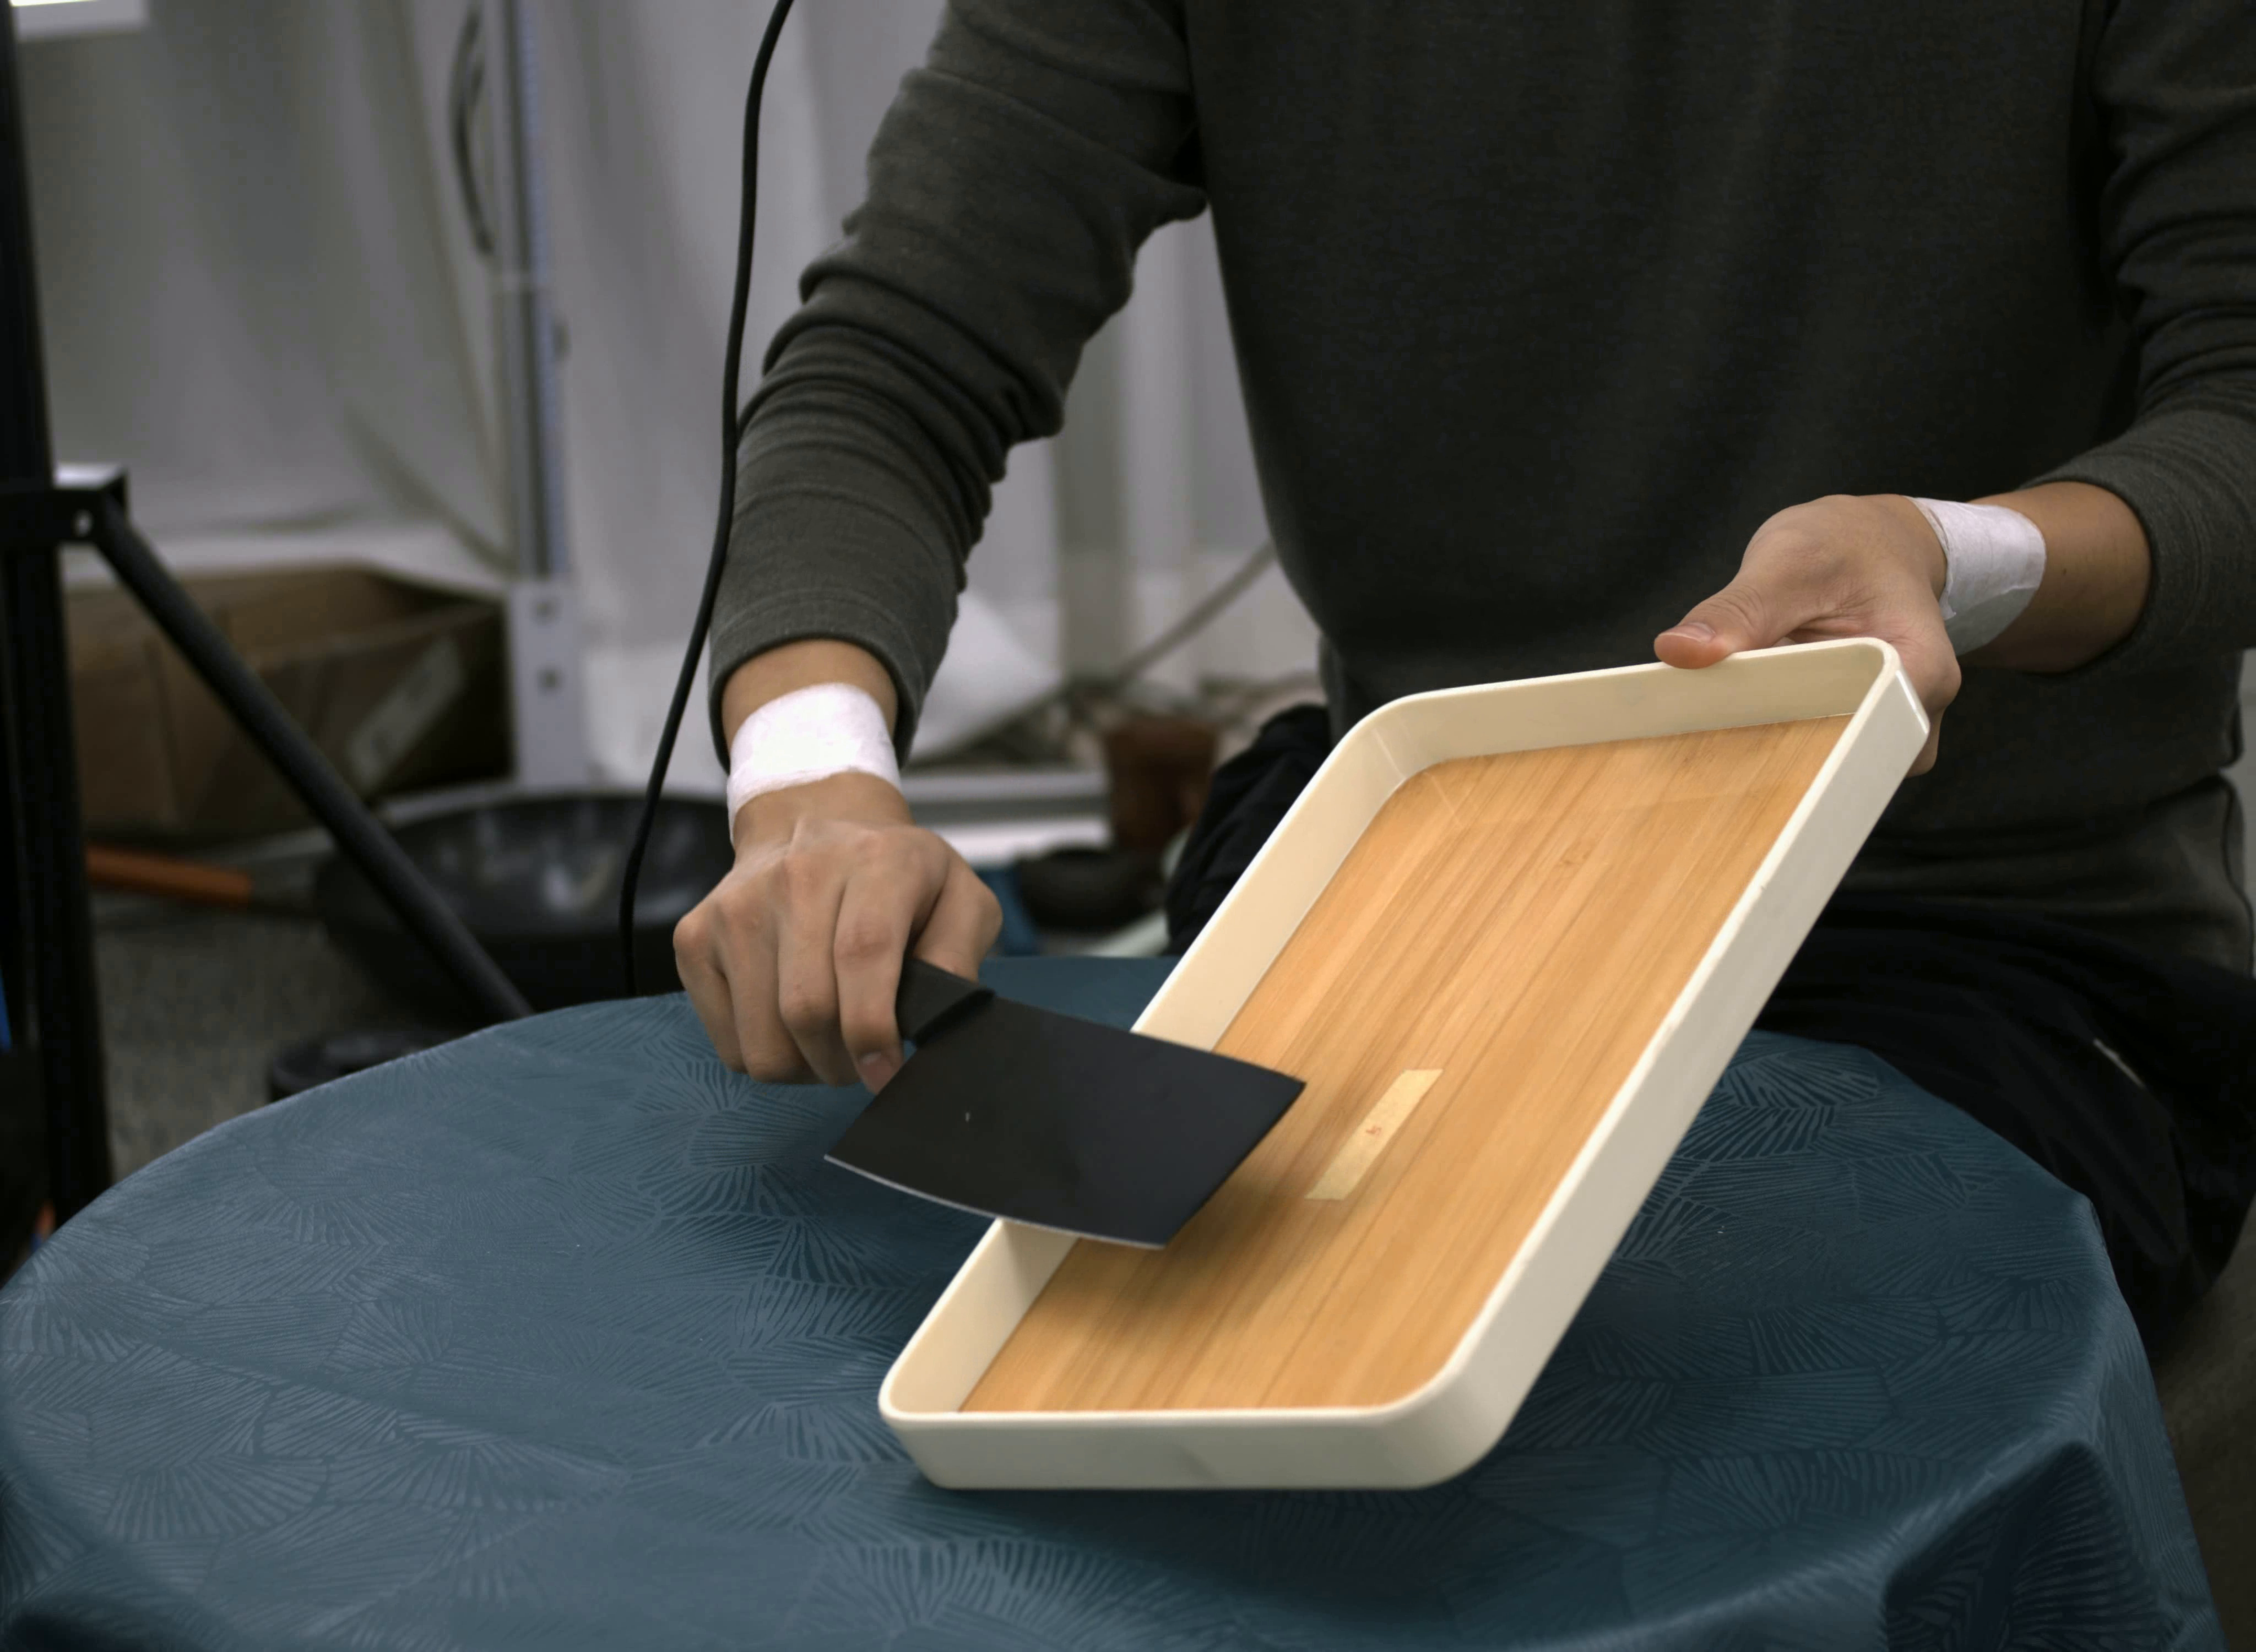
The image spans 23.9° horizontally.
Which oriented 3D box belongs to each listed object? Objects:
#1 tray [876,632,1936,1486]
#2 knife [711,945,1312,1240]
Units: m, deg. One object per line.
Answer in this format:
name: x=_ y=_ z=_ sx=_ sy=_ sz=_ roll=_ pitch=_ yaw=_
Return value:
tray: x=0.076 y=0.059 z=1.381 sx=0.195 sy=0.027 sz=0.298 roll=-7 pitch=35 yaw=43
knife: x=-0.045 y=0.070 z=1.471 sx=0.080 sy=0.020 sz=0.308 roll=-45 pitch=24 yaw=-14
